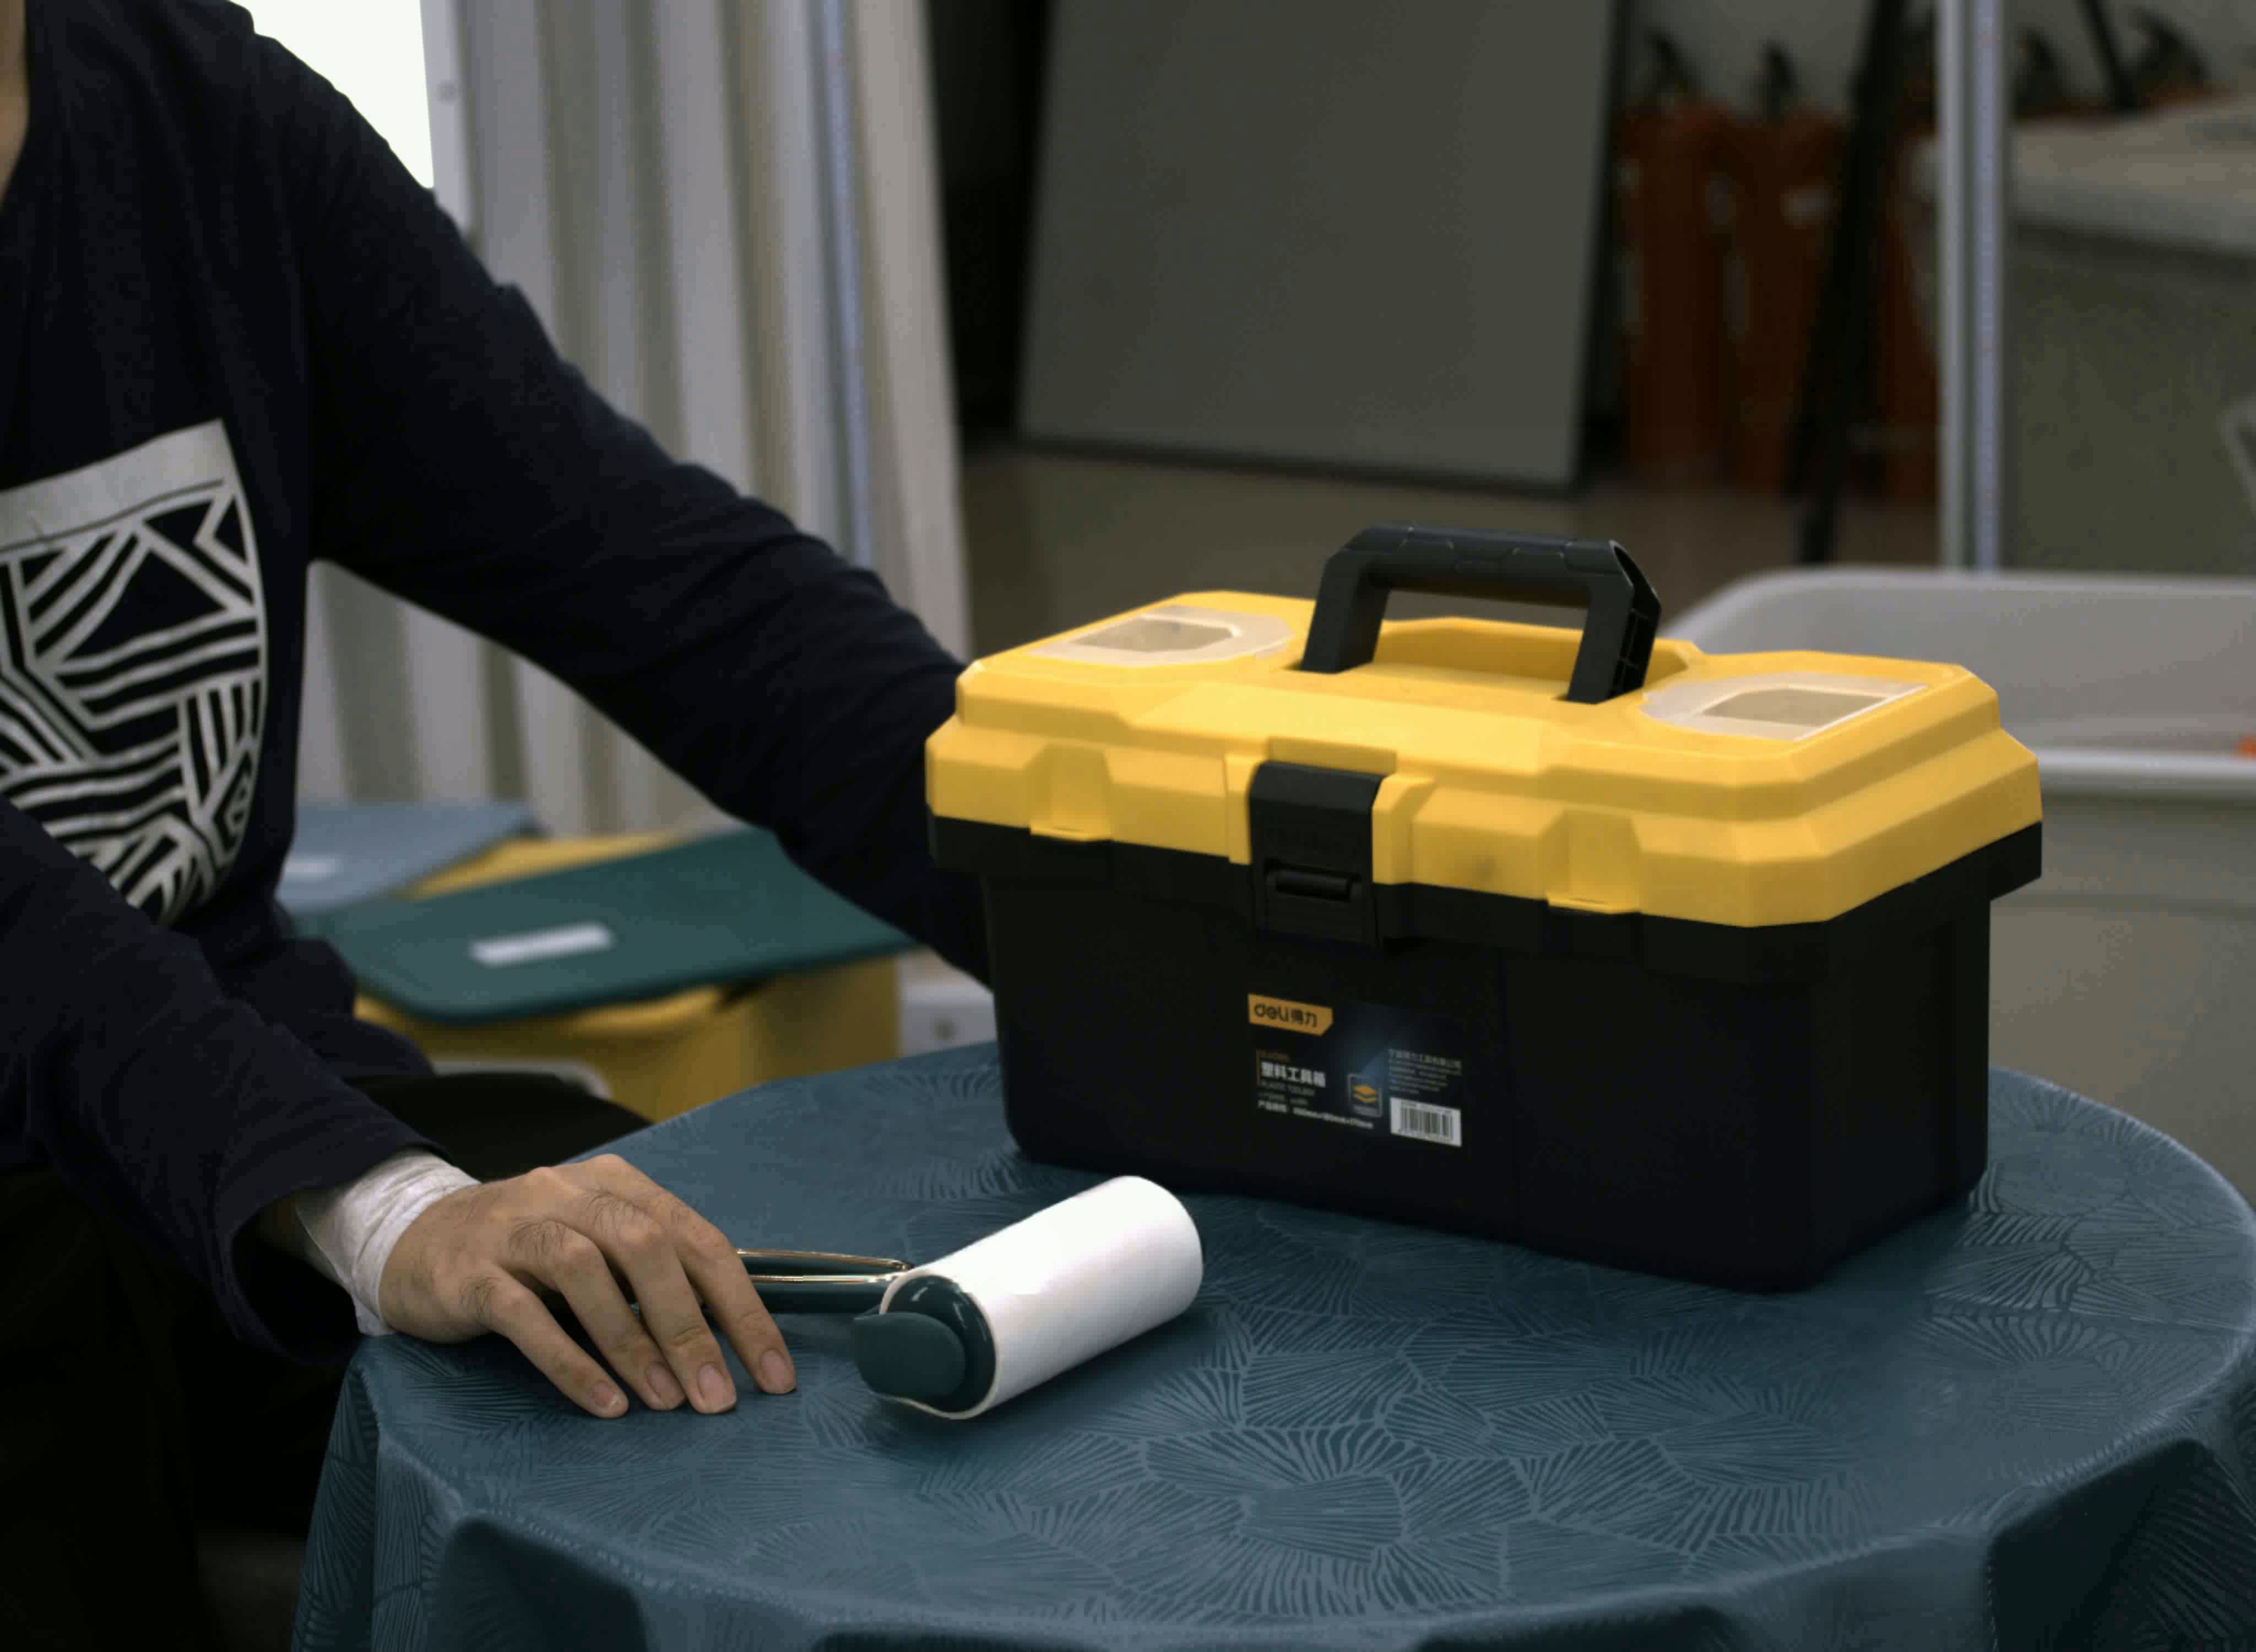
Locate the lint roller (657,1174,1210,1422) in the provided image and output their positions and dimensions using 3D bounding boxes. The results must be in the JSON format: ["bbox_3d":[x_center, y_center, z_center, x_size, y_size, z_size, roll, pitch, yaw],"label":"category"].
[{"bbox_3d":[-0.078,0.138,1.647,0.181,0.049,0.132,2,15,39],"label":"lint roller"}]

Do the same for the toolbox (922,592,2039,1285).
[{"bbox_3d":[0.109,0.031,1.746,0.354,0.175,0.178,6,16,39],"label":"toolbox"}]
